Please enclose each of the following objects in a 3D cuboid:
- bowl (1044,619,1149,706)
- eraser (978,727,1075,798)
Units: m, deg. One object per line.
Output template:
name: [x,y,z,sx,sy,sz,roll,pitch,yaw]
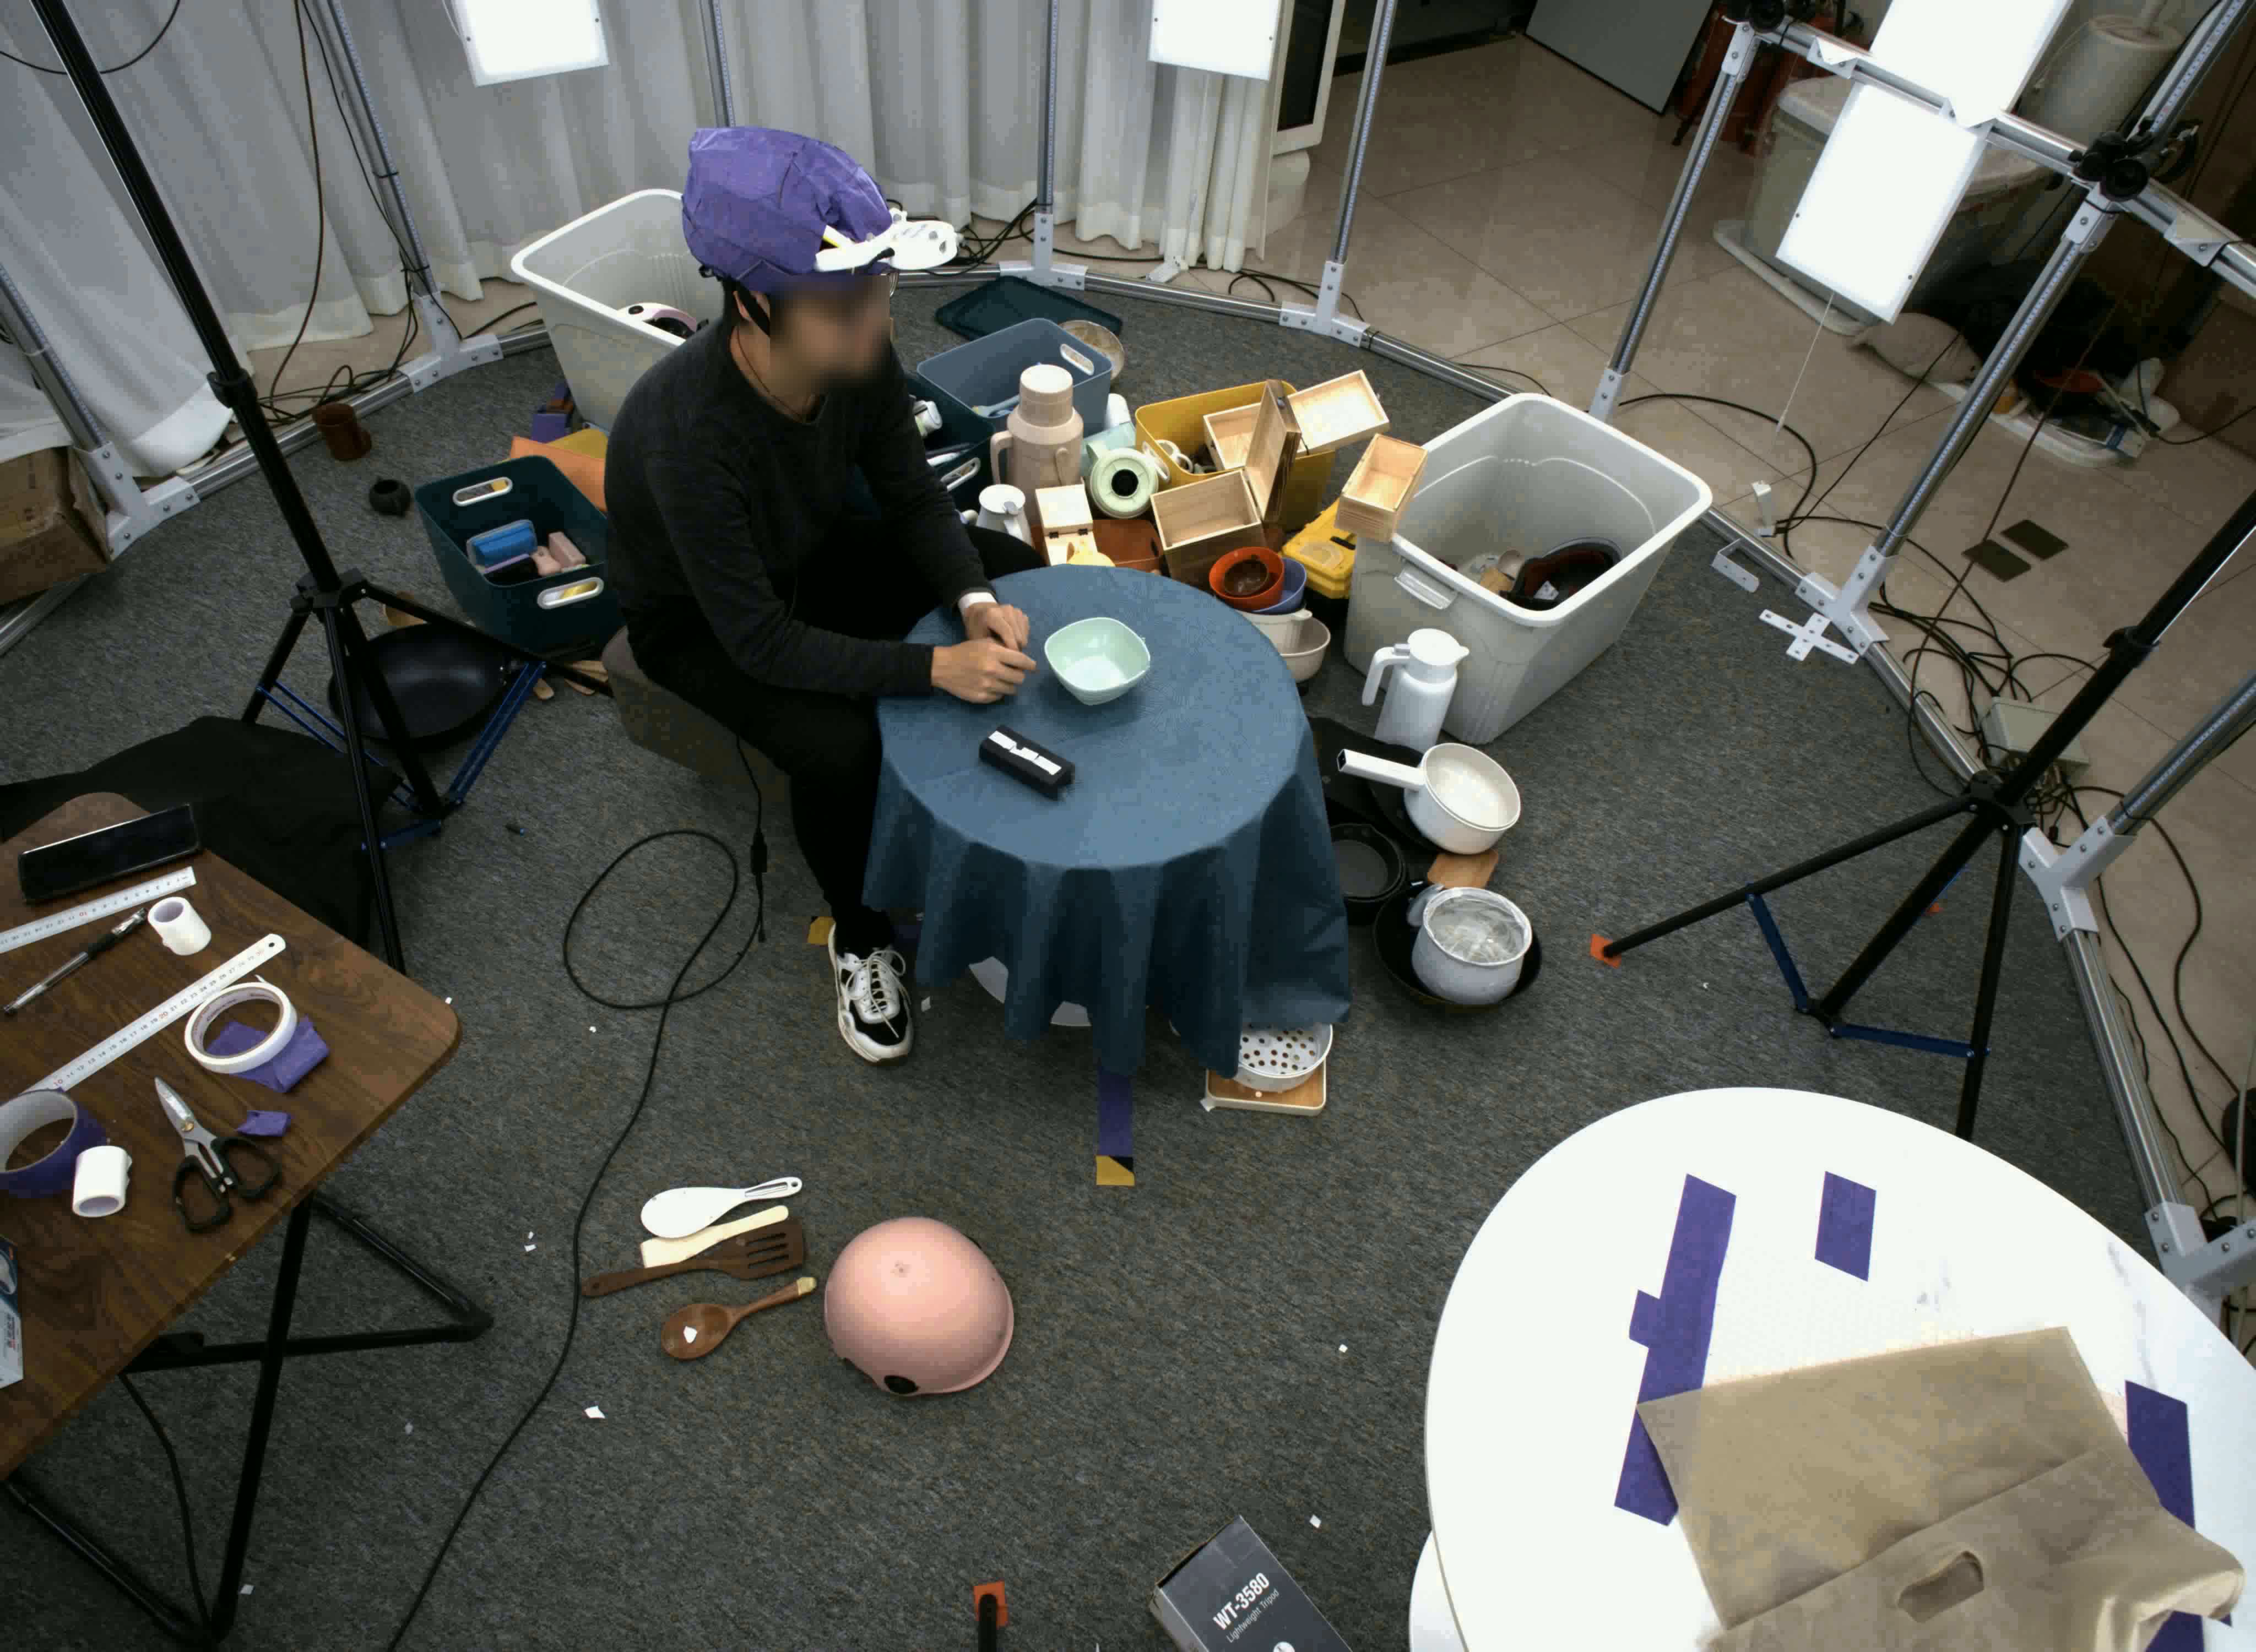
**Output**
bowl: [-0.047,-0.225,1.826,0.151,0.057,0.155,3,48,-4]
eraser: [-0.136,-0.086,1.717,0.127,0.030,0.054,29,50,20]
